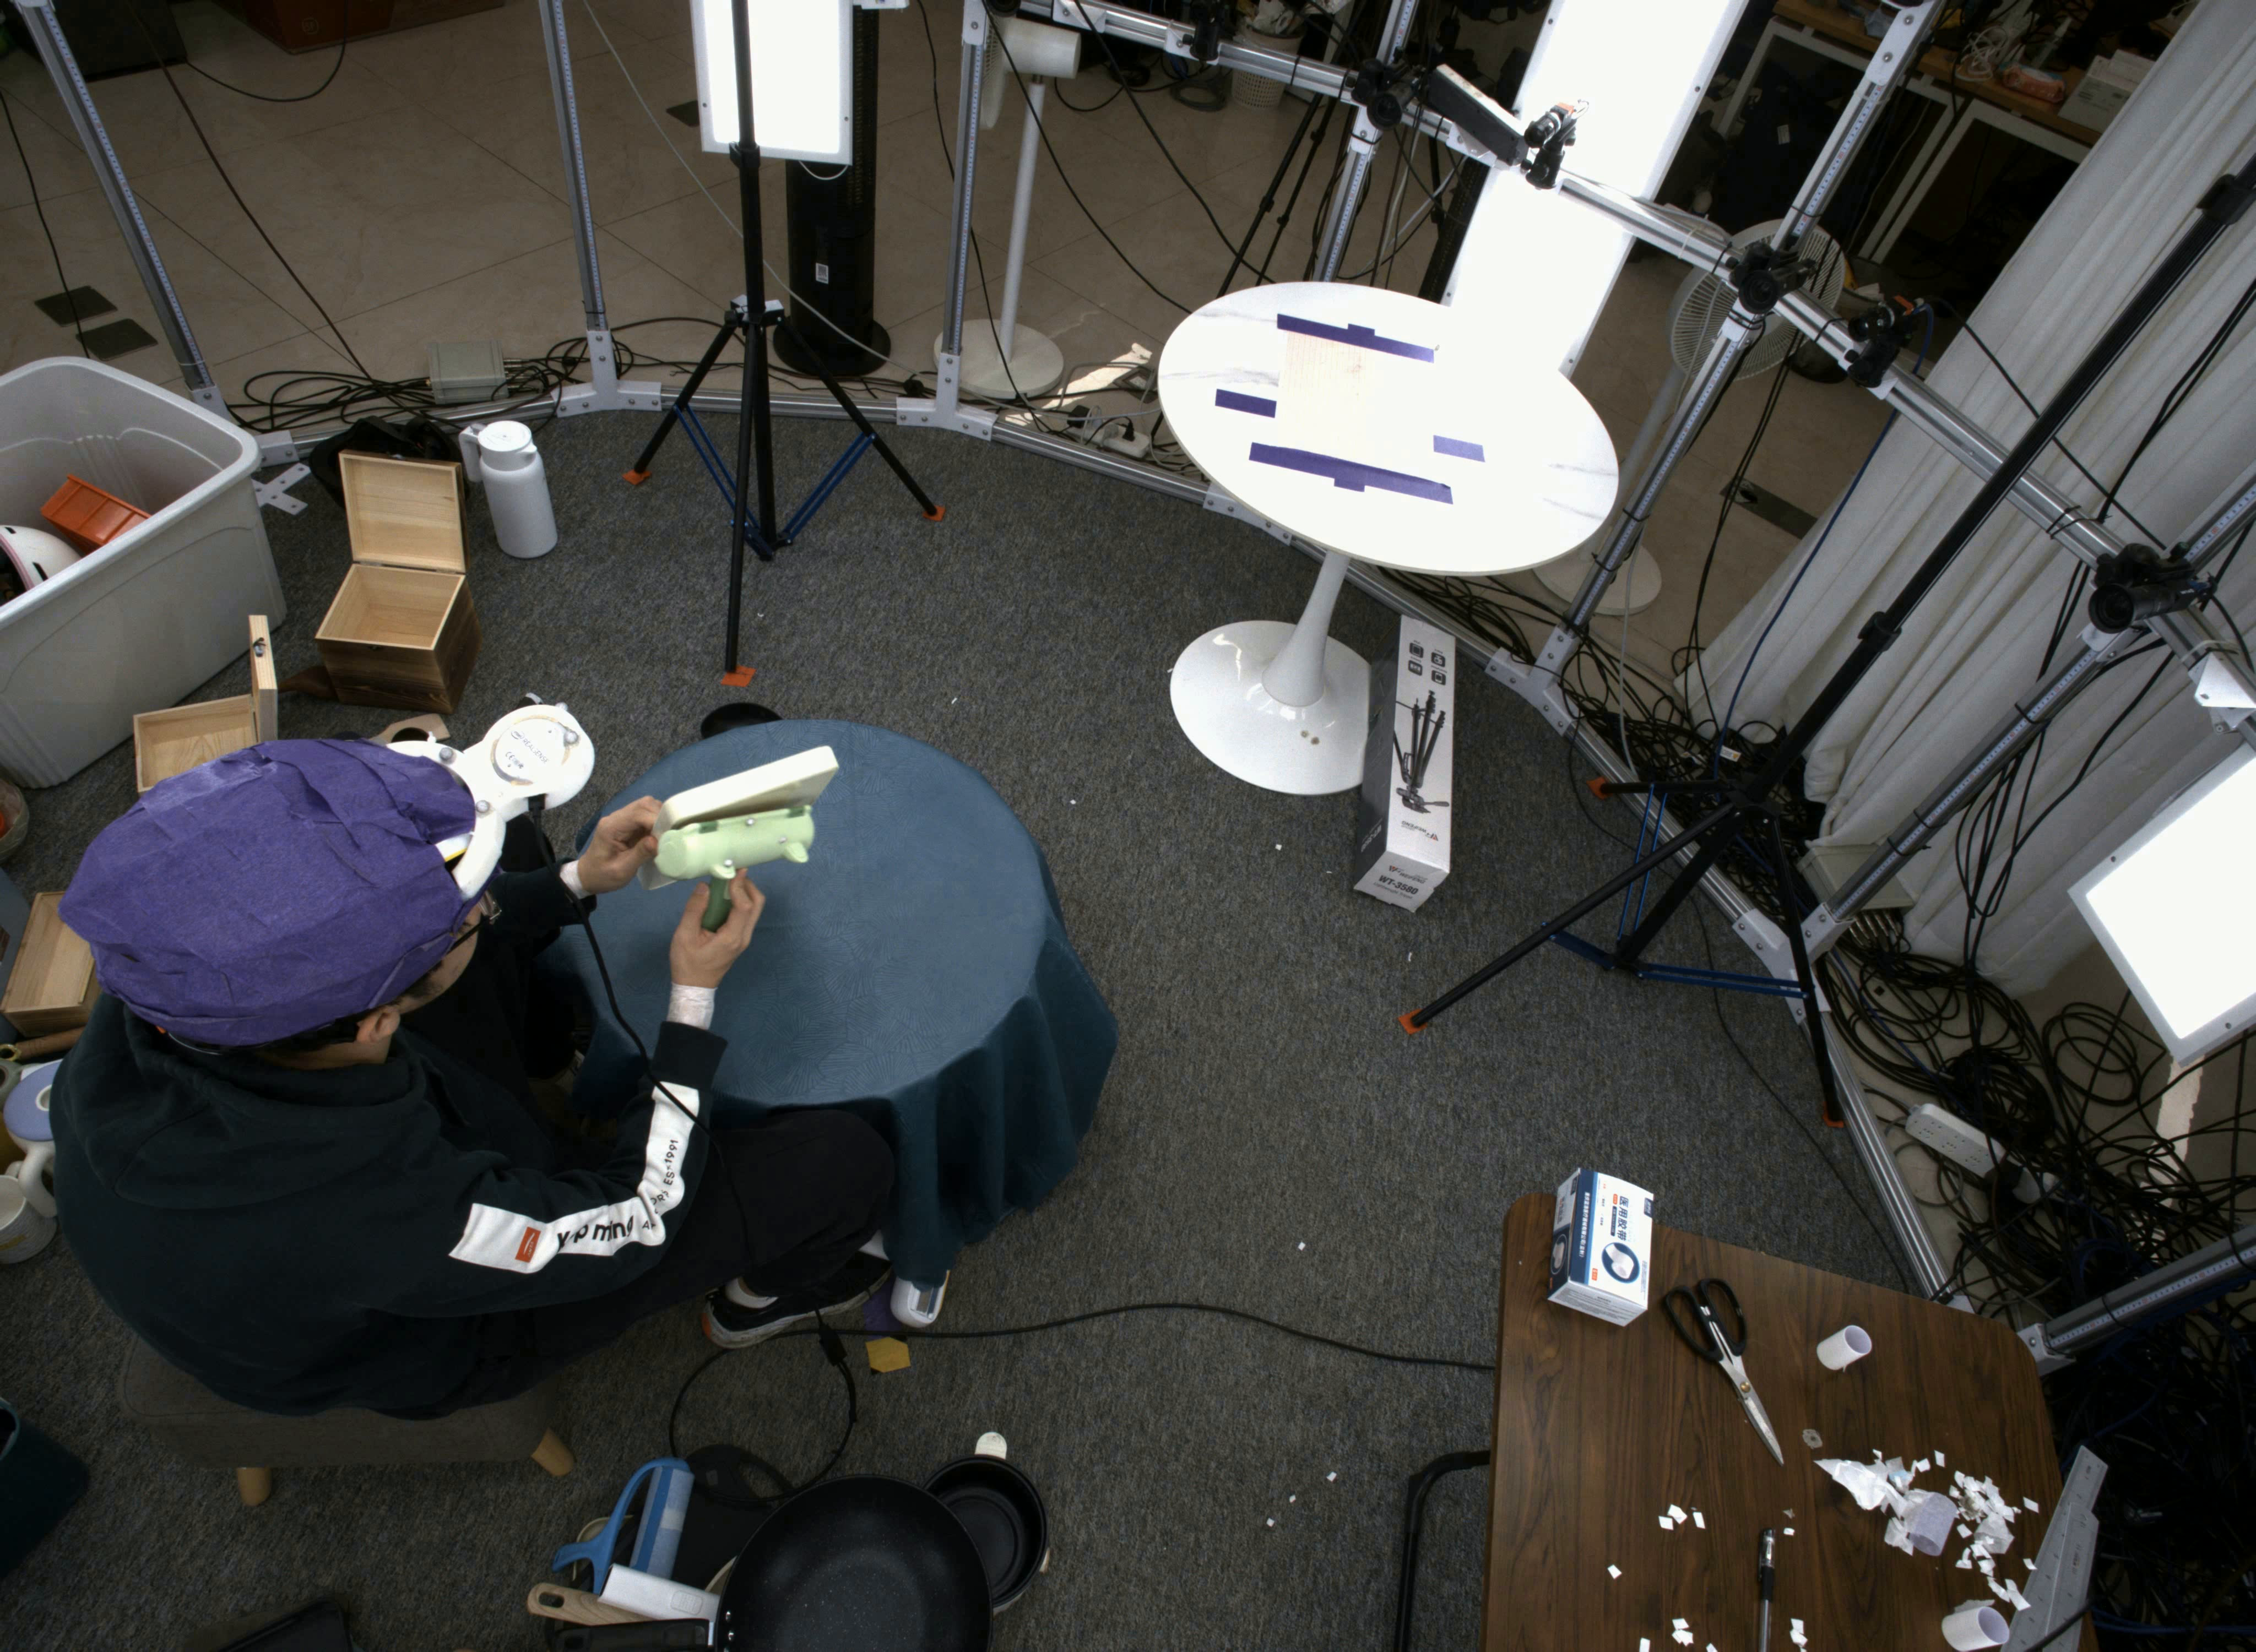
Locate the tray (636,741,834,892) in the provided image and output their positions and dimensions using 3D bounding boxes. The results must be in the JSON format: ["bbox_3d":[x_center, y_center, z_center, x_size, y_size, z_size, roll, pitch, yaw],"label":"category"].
[{"bbox_3d":[-0.450,-0.007,1.457,0.193,0.298,0.027,-23,83,-30],"label":"tray"}]

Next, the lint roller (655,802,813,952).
[{"bbox_3d":[-0.427,0.064,1.388,0.080,0.186,0.201,26,17,20],"label":"lint roller"}]
